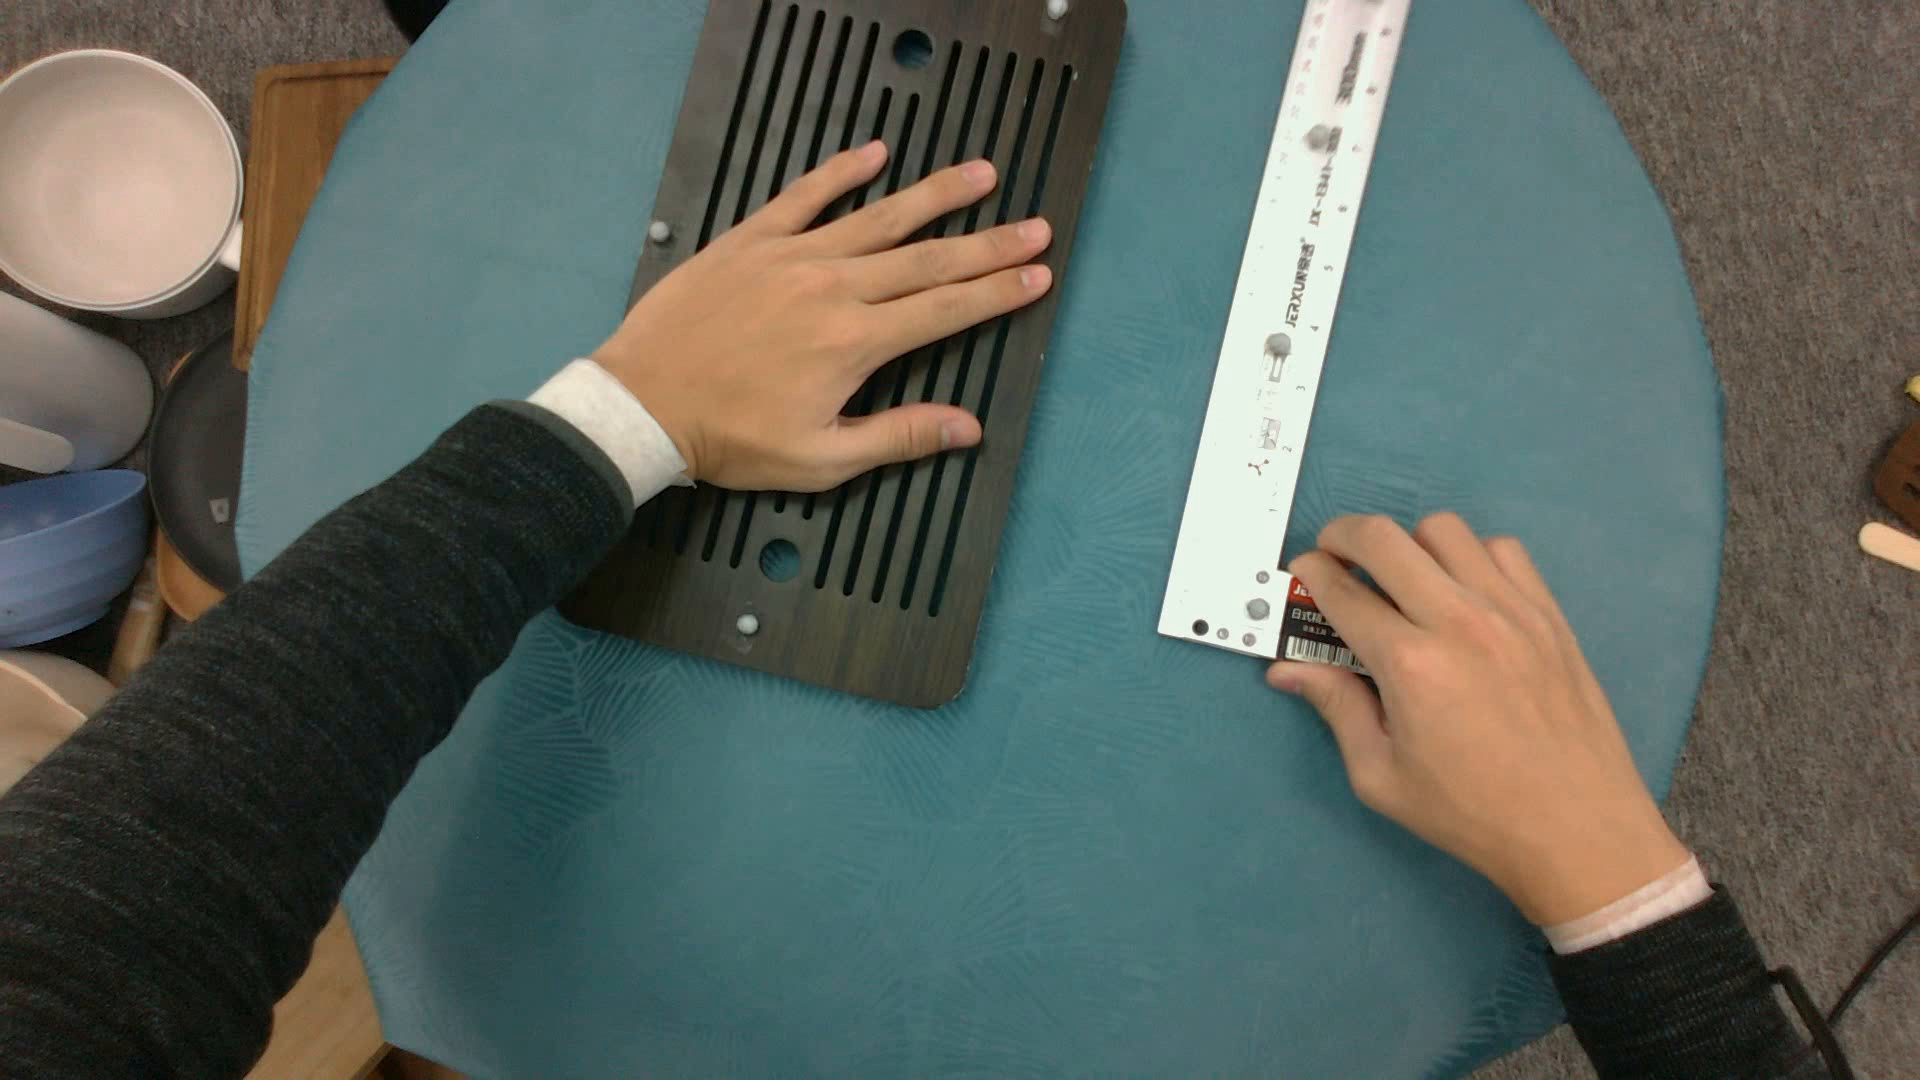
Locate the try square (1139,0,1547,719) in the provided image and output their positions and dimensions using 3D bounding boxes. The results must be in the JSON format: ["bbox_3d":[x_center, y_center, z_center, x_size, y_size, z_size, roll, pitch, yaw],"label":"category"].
[{"bbox_3d":[0.179,-0.097,0.554,0.152,0.016,0.313,13,82,8],"label":"try square"}]

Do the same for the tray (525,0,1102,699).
[{"bbox_3d":[-0.056,-0.101,0.561,0.170,0.018,0.306,13,83,3],"label":"tray"}]
